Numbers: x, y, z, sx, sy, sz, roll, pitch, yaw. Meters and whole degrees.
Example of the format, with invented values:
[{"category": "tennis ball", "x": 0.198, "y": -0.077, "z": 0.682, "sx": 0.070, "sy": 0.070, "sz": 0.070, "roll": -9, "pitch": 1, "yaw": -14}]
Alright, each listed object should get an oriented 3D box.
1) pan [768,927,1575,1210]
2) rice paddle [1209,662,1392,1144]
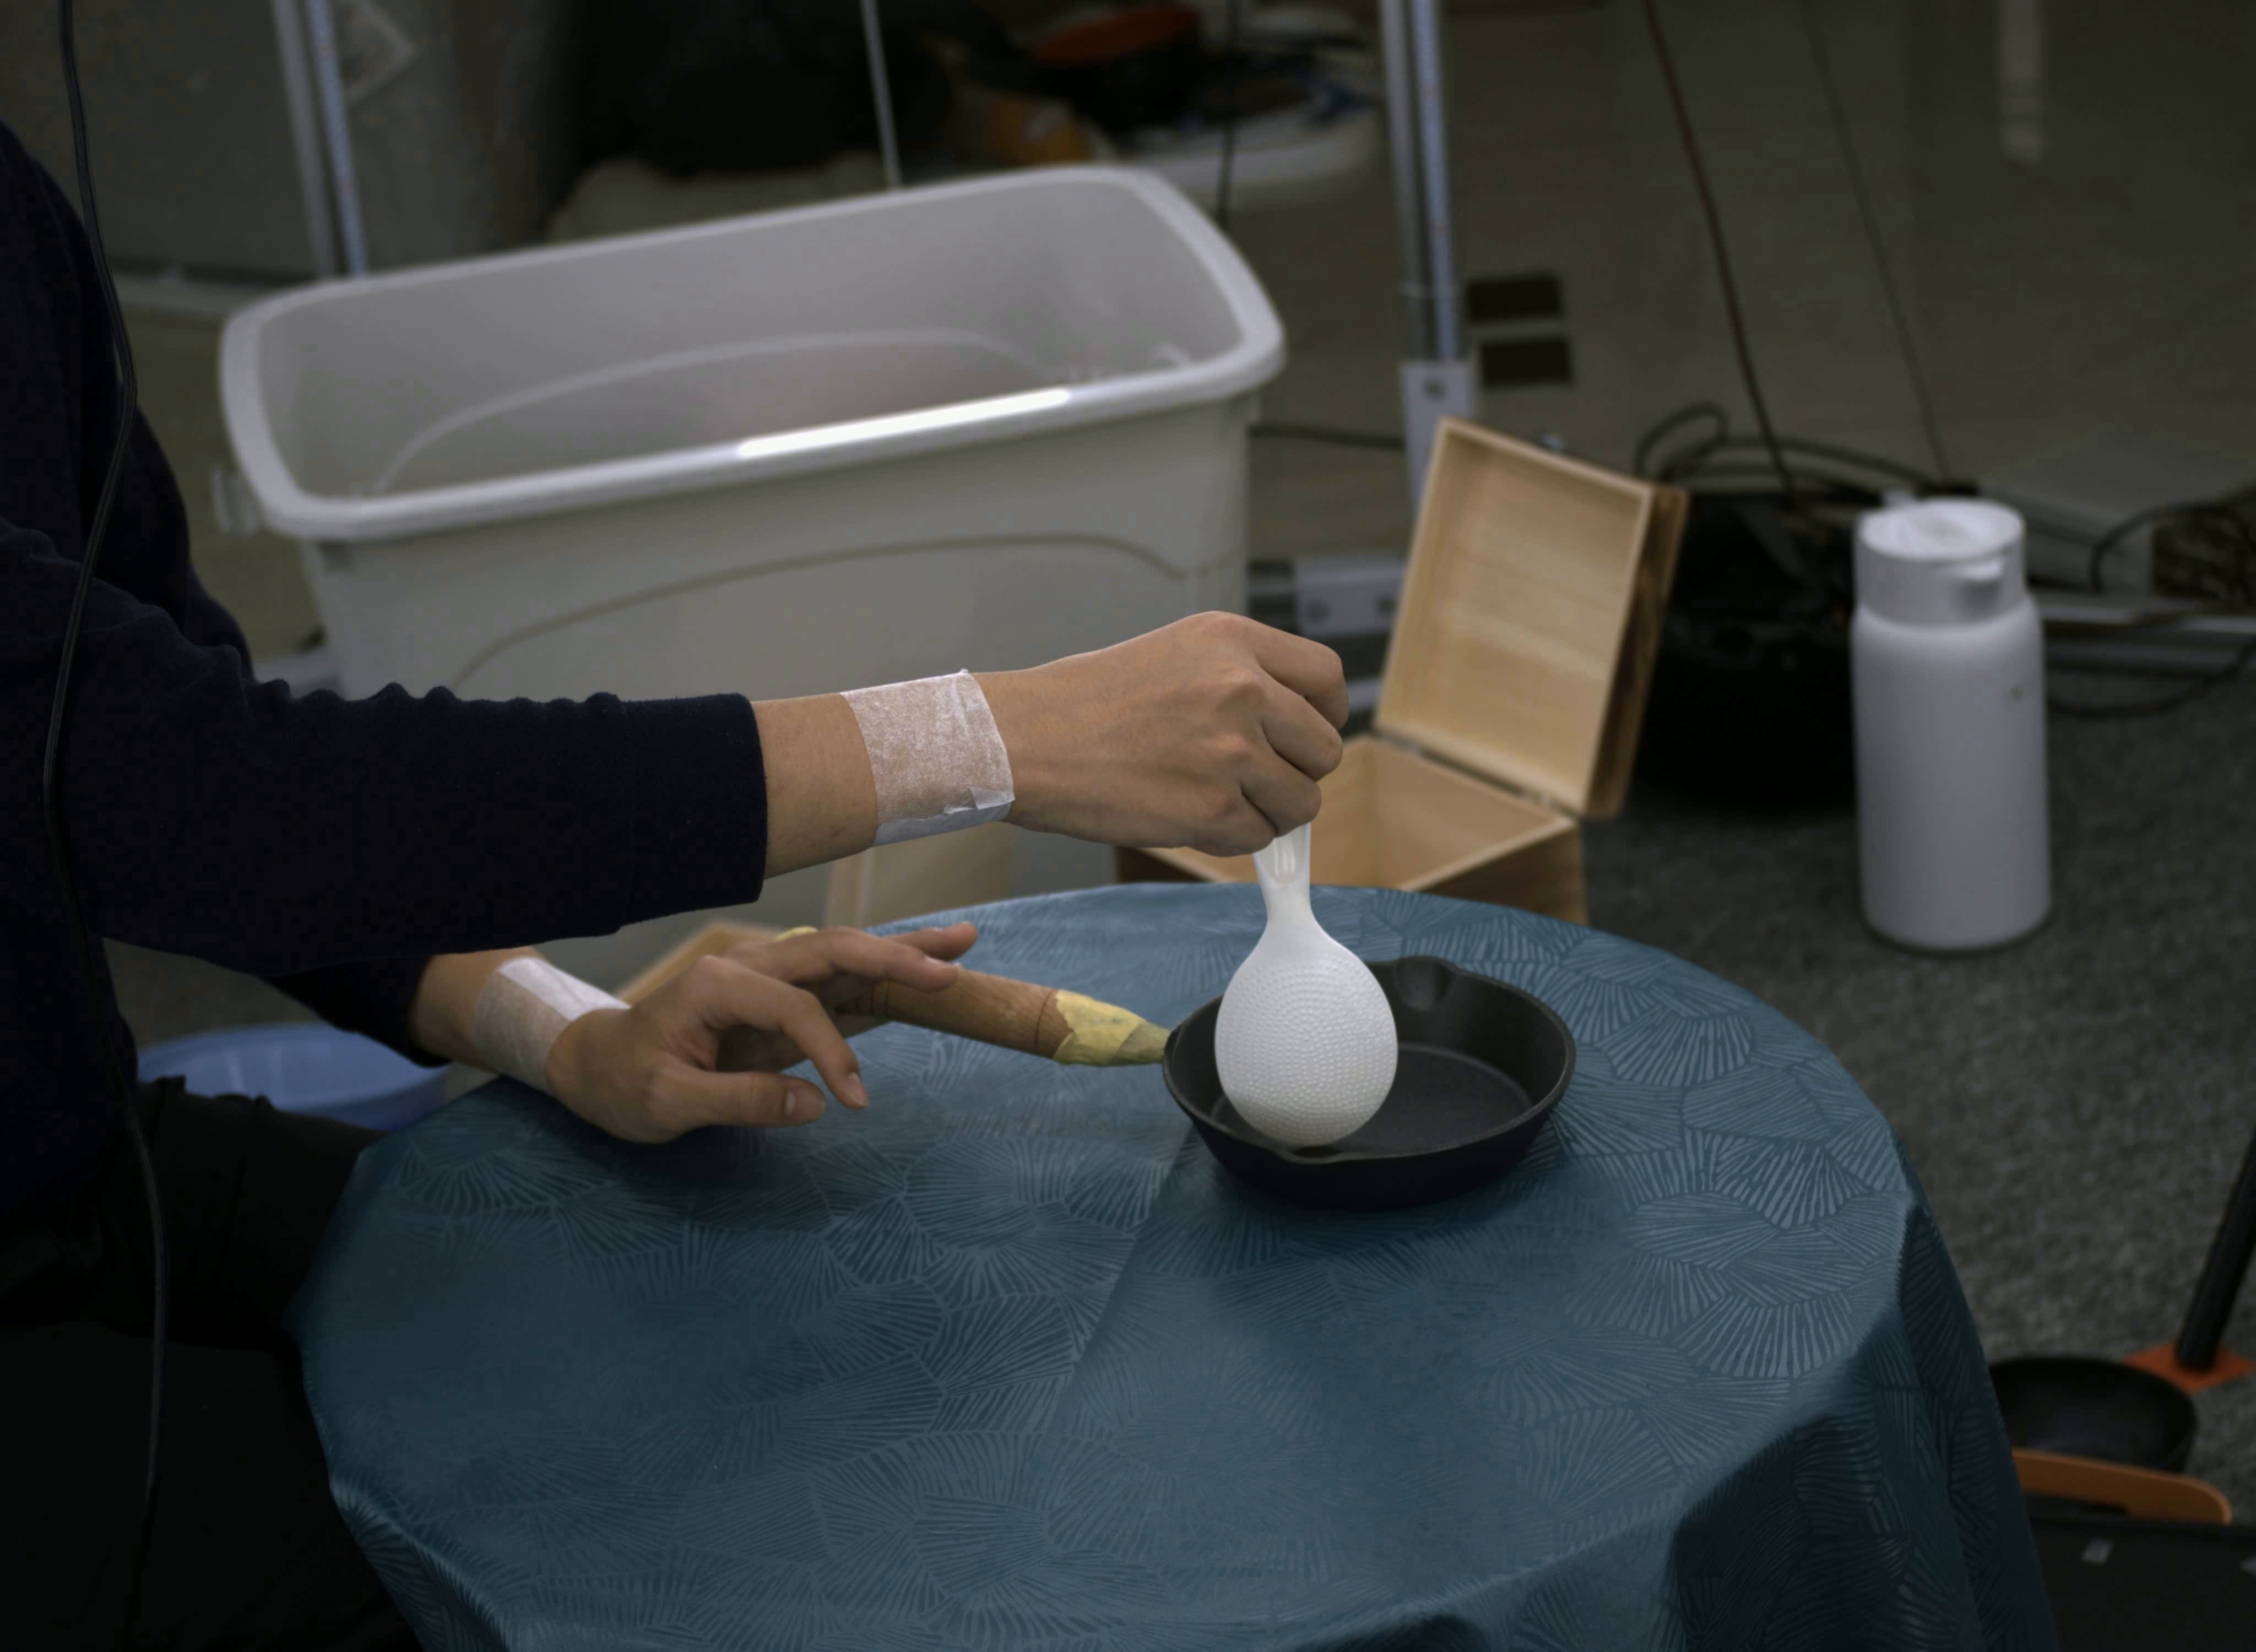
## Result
[{"category": "pan", "x": 0.013, "y": 0.084, "z": 2.182, "sx": 0.323, "sy": 0.050, "sz": 0.166, "roll": 8, "pitch": 29, "yaw": 19}, {"category": "rice paddle", "x": 0.058, "y": 0.033, "z": 2.094, "sx": 0.068, "sy": 0.209, "sz": 0.029, "roll": -7, "pitch": 34, "yaw": 1}]
